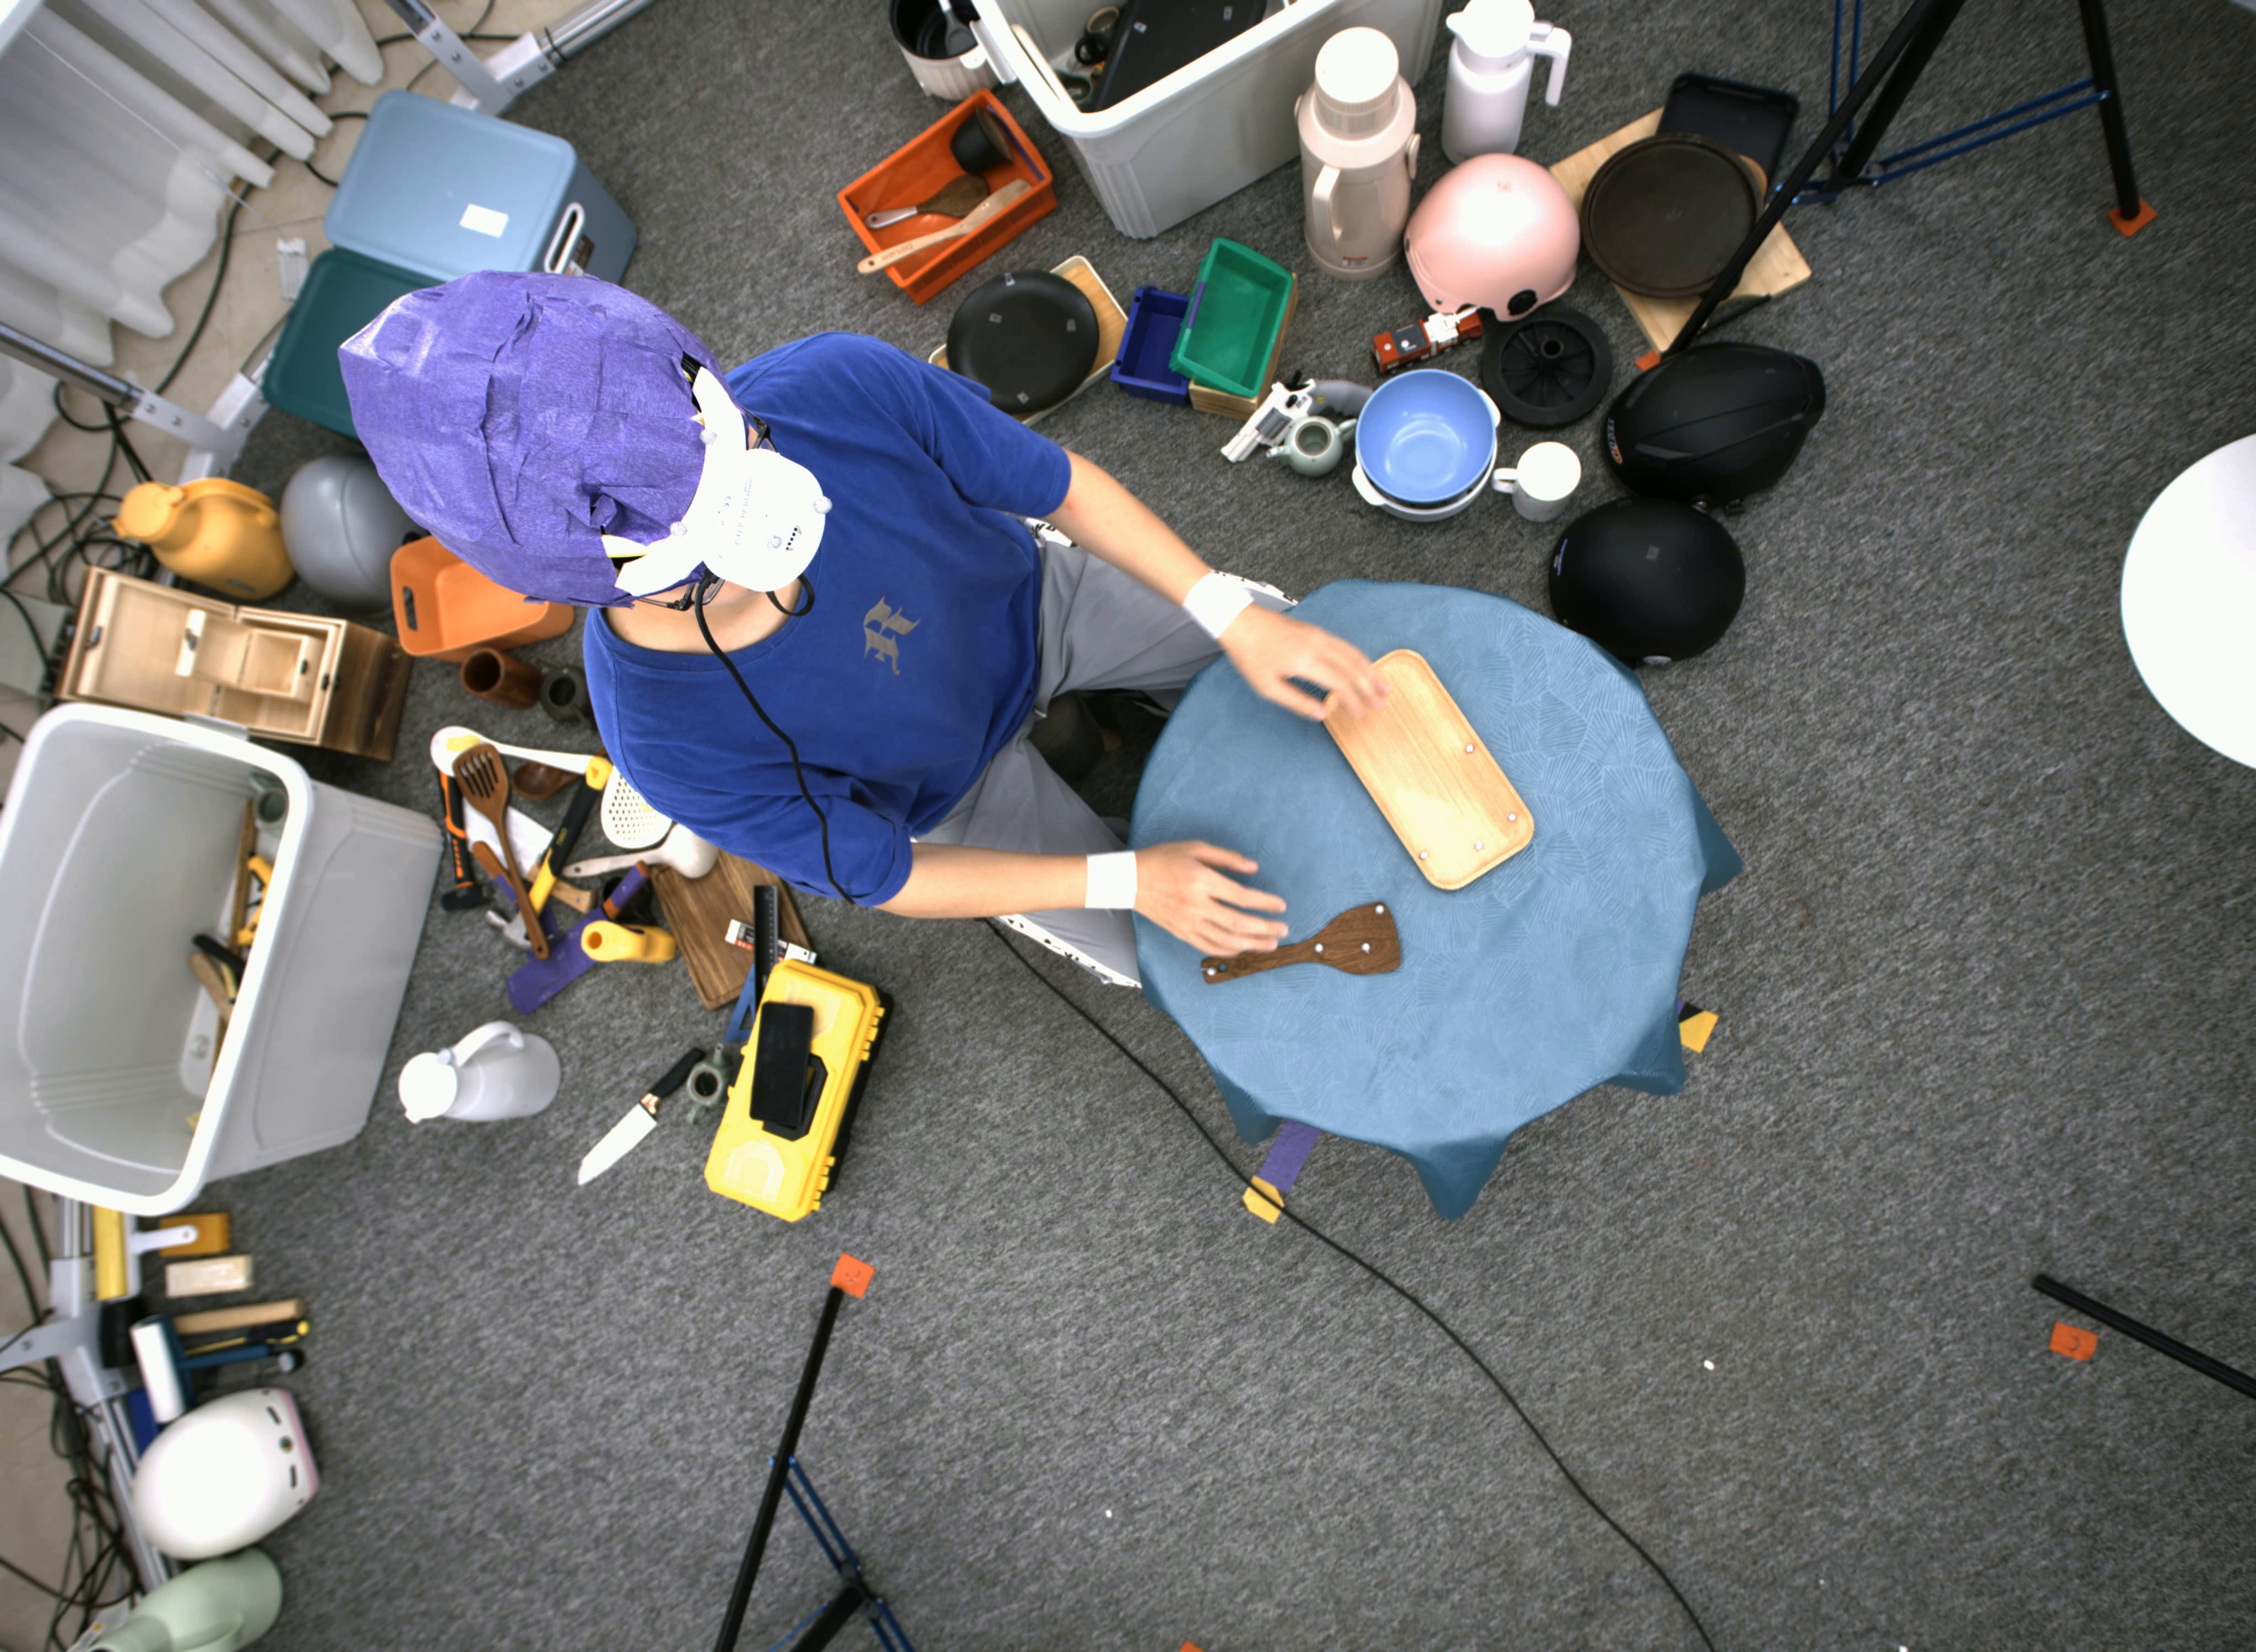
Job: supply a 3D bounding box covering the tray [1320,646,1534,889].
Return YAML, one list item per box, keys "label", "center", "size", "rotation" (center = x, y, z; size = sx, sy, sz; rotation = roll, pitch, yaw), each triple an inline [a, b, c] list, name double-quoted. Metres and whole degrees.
- label: "tray"
  center: [0.313, -0.064, 1.448]
  size: [0.131, 0.023, 0.249]
  rotation: [-32, 81, 5]

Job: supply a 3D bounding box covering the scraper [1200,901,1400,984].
- label: "scraper"
  center: [0.180, 0.134, 1.468]
  size: [0.212, 0.011, 0.075]
  rotation: [-12, 84, 11]
